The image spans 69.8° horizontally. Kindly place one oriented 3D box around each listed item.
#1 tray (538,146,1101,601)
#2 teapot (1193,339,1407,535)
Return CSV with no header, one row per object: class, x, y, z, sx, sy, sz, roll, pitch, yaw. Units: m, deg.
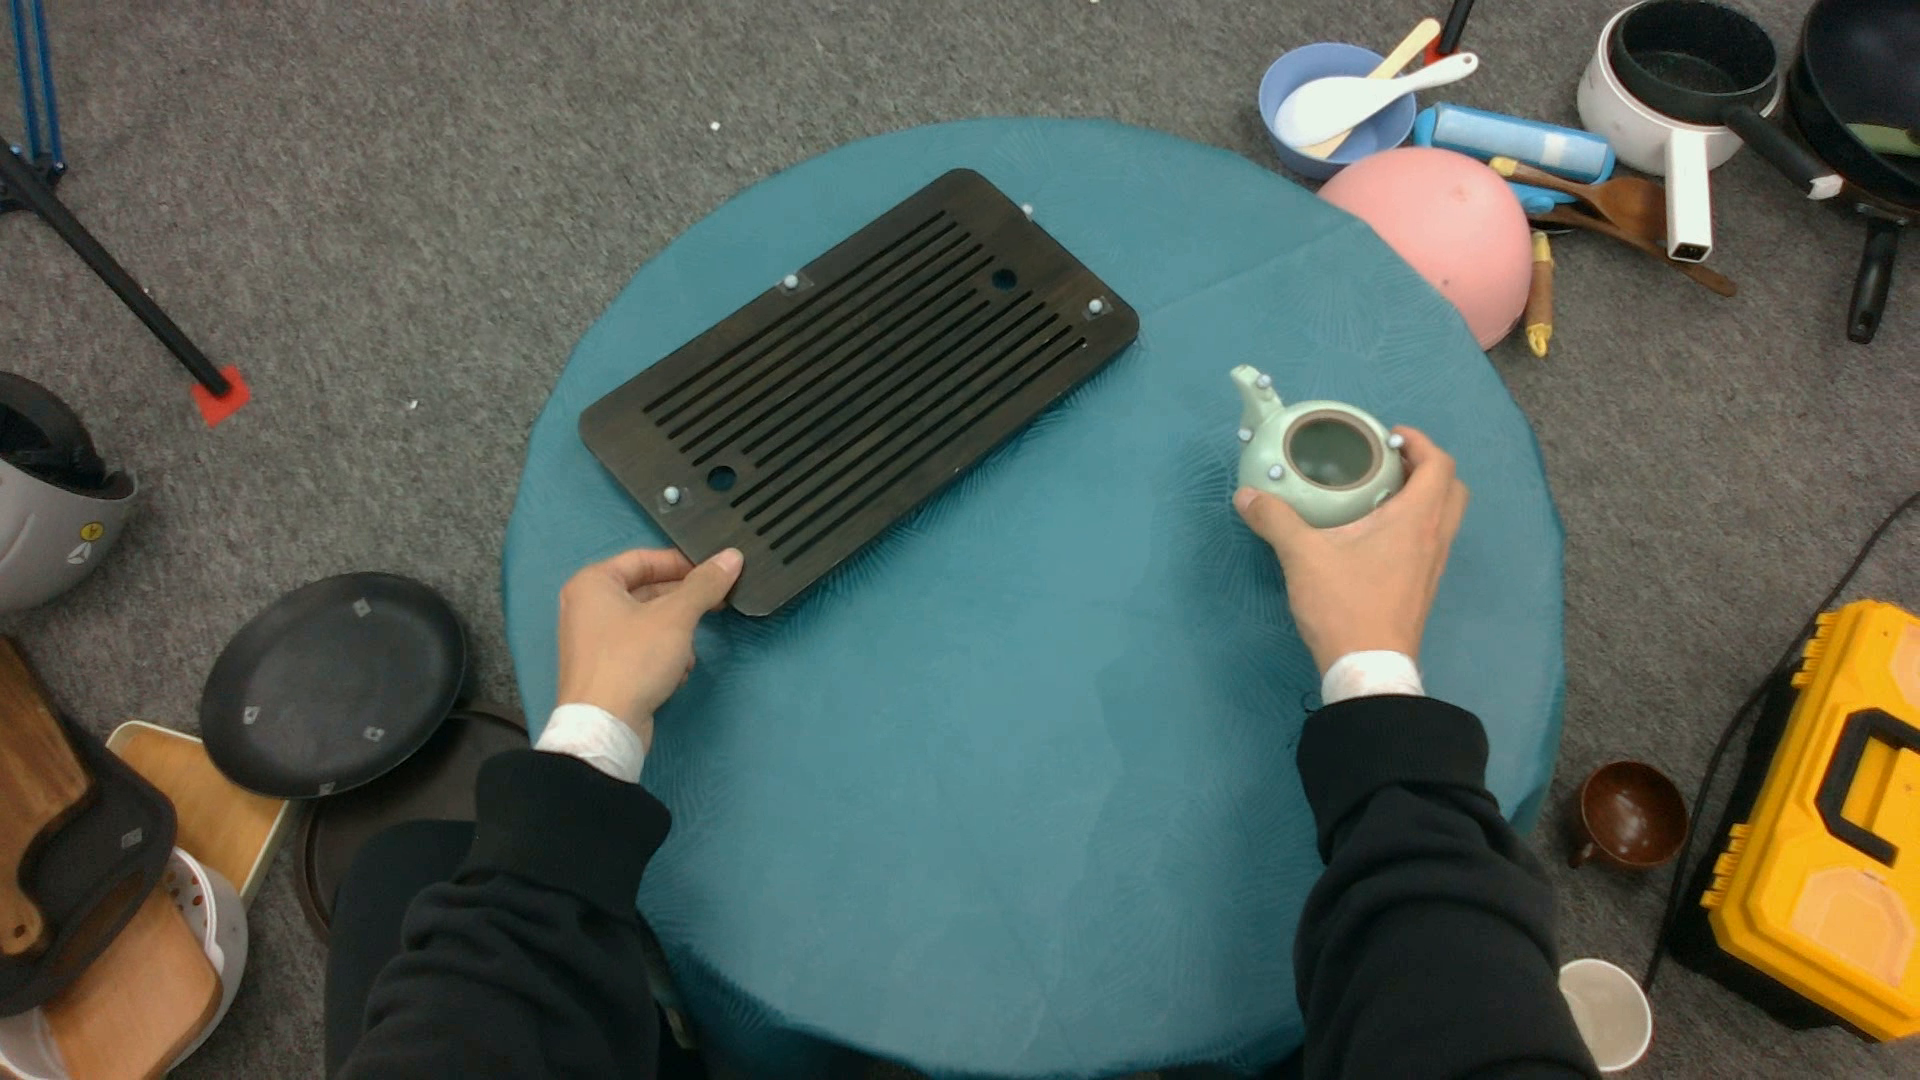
tray,-0.076,-0.108,0.809,0.307,0.018,0.170,-39,72,-20
teapot,0.179,-0.048,0.755,0.088,0.074,0.144,-37,65,-20
